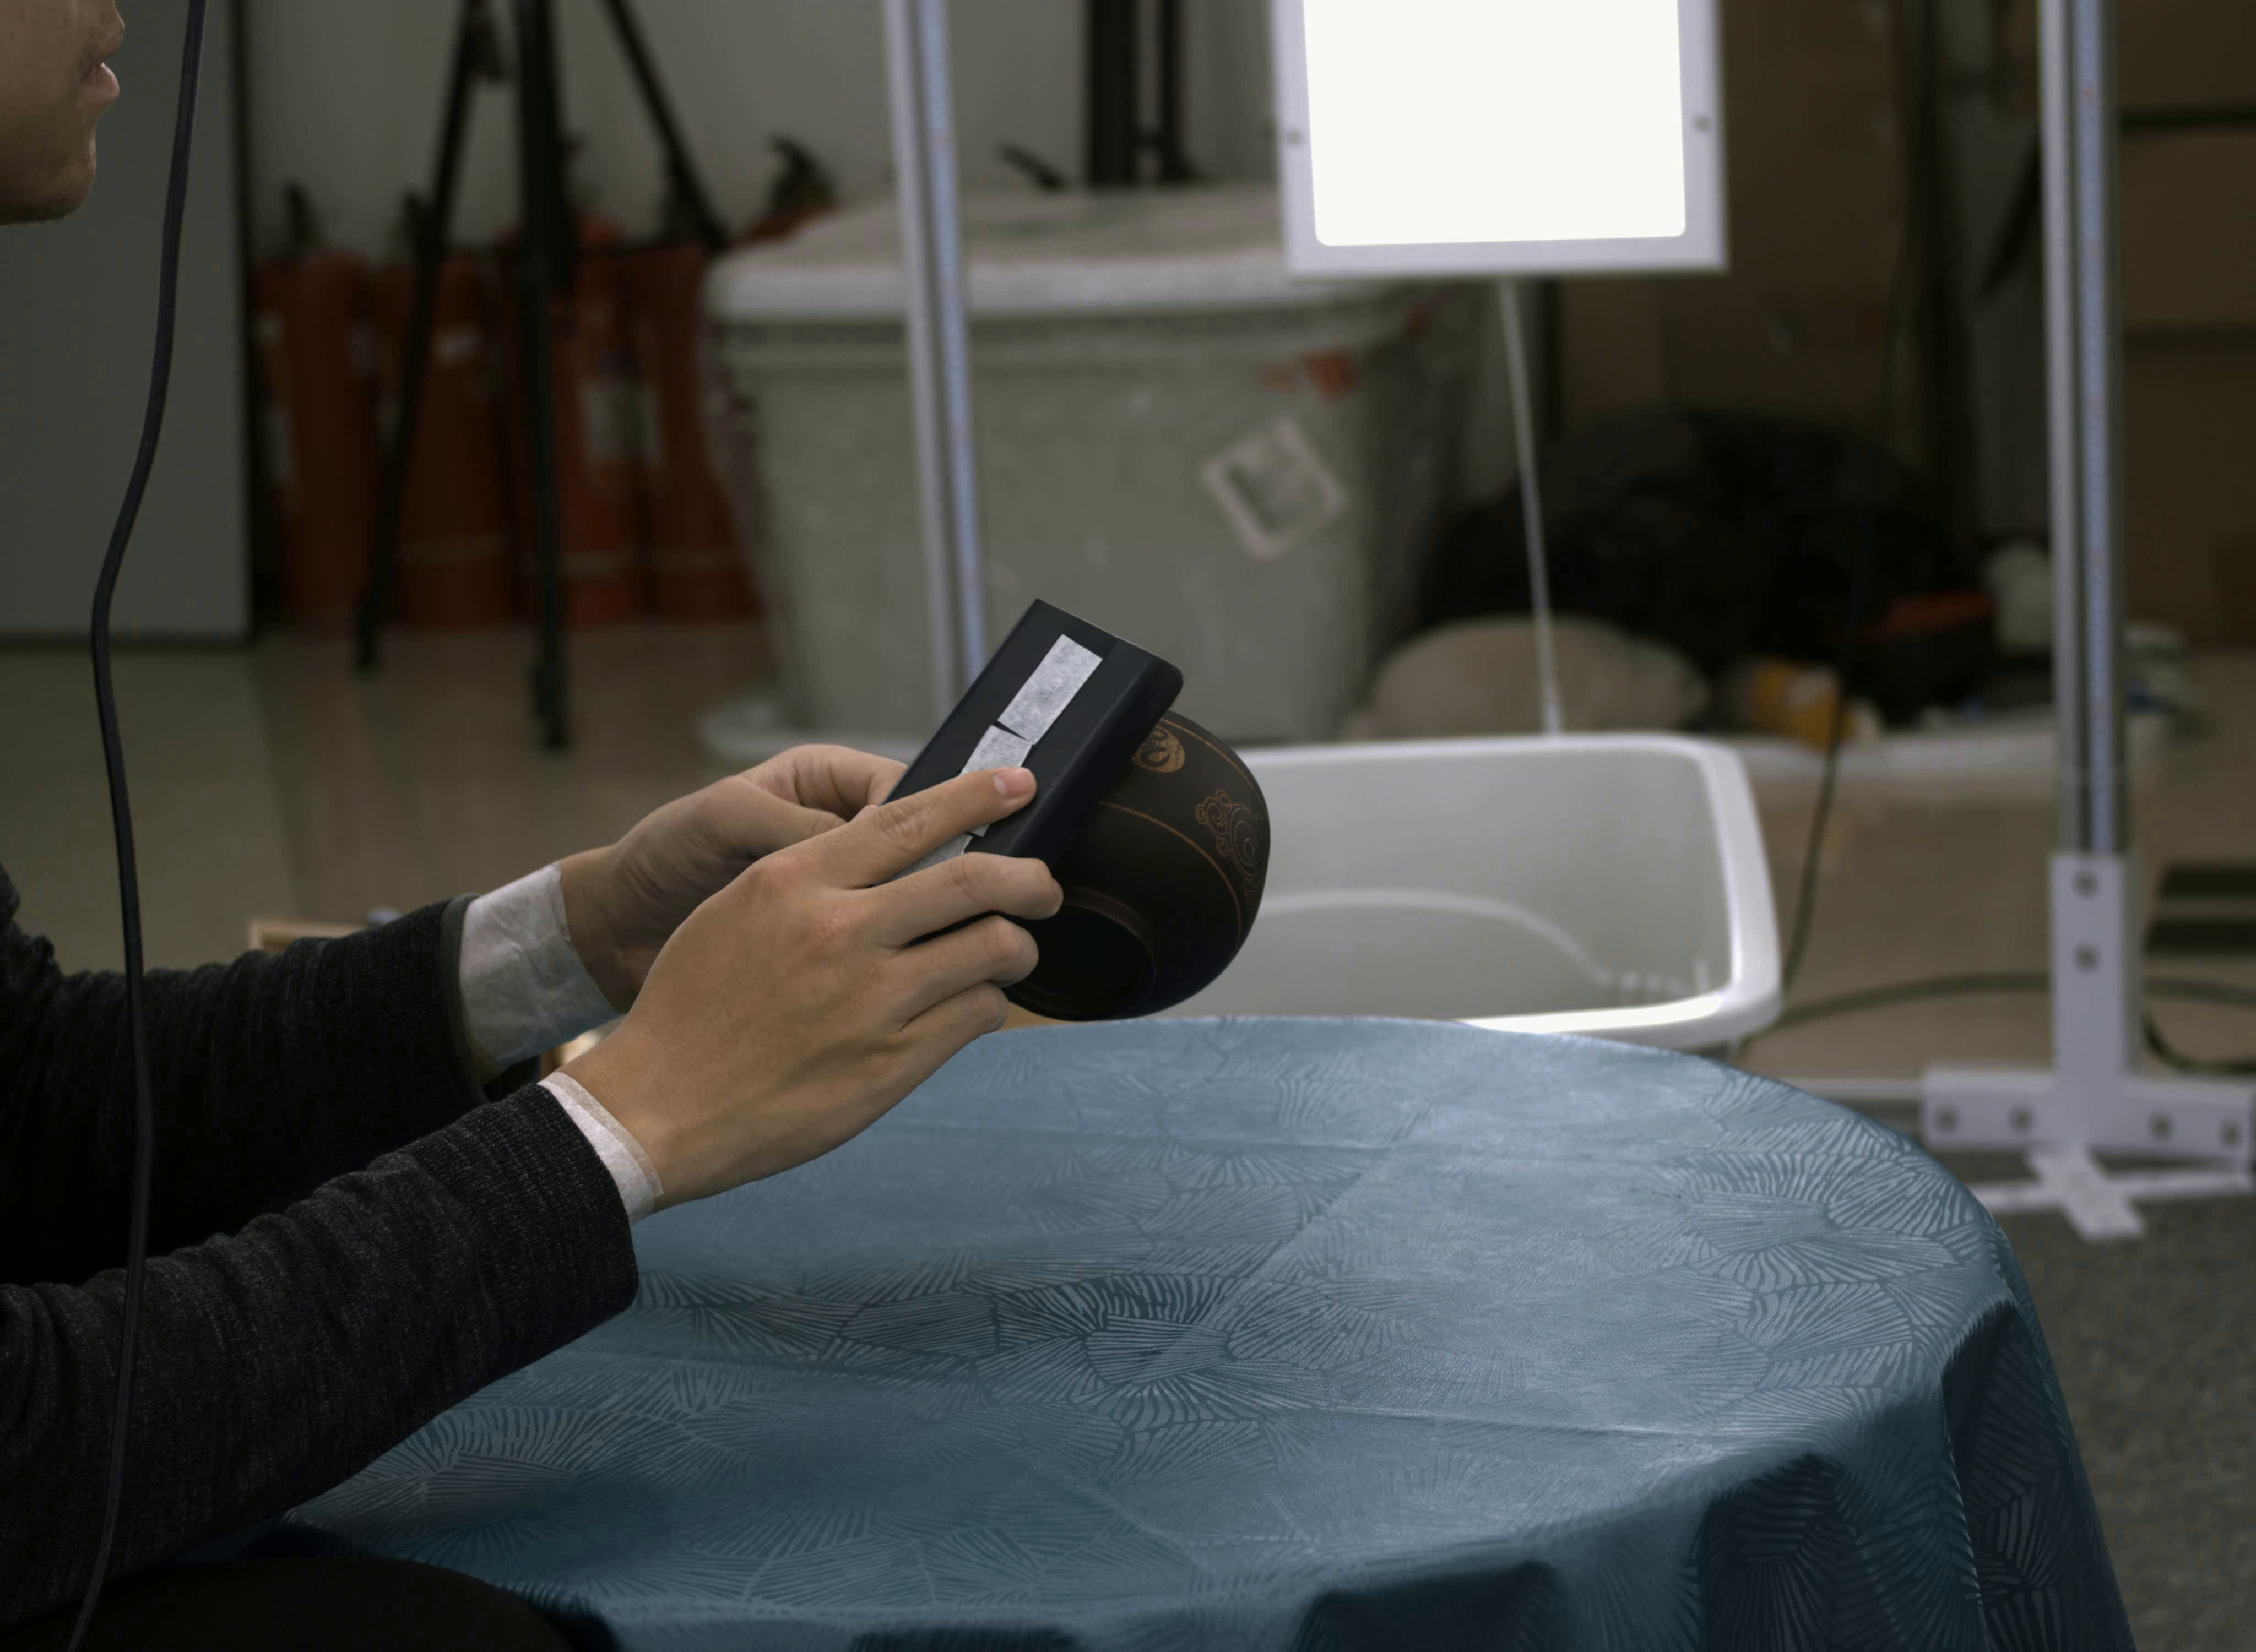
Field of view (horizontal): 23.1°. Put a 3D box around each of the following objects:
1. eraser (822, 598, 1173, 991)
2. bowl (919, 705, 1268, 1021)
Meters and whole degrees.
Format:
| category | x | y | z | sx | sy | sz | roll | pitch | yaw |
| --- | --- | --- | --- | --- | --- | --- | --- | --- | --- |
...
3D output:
| category | x | y | z | sx | sy | sz | roll | pitch | yaw |
| --- | --- | --- | --- | --- | --- | --- | --- | --- | --- |
| eraser | -0.040 | -0.011 | 1.721 | 0.054 | 0.030 | 0.124 | 25 | 70 | 26 |
| bowl | -0.016 | 0.019 | 1.778 | 0.119 | 0.118 | 0.069 | 0 | 48 | 15 |
